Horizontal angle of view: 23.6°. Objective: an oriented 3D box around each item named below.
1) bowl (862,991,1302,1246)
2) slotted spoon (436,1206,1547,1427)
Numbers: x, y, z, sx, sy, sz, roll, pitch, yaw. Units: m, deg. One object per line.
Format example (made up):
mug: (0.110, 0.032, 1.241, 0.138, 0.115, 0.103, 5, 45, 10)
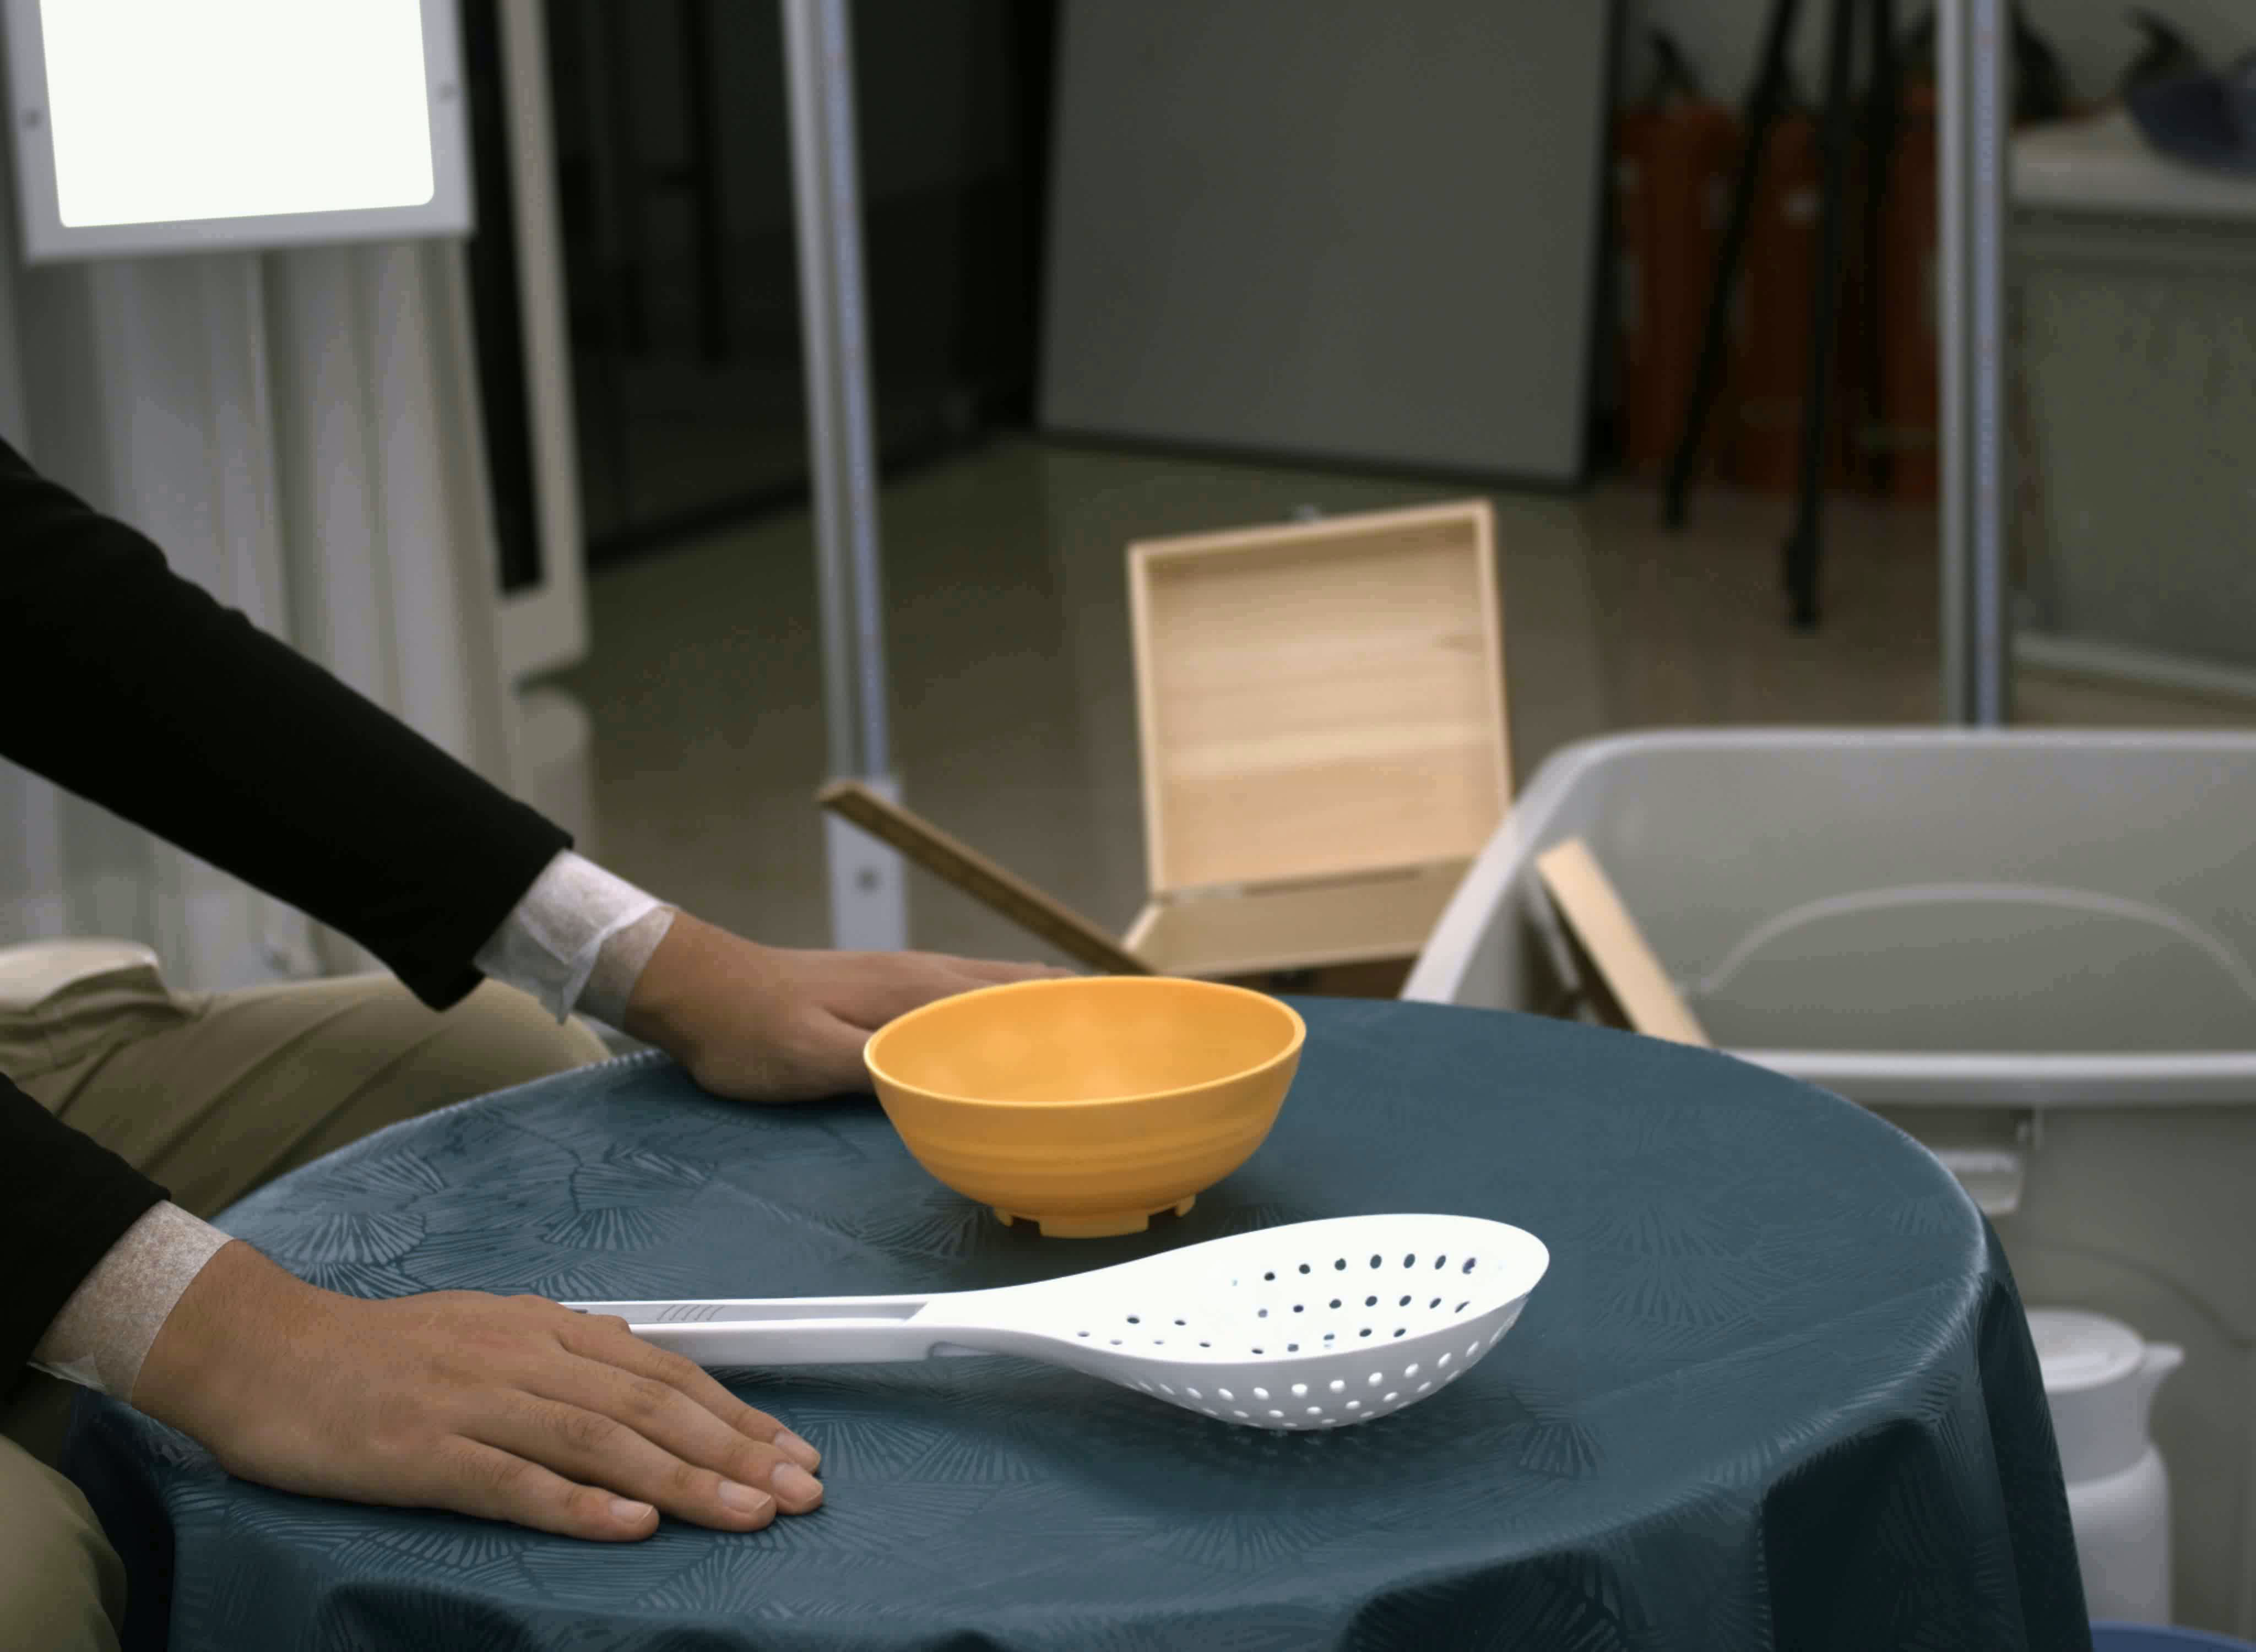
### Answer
bowl: (-0.014, 0.098, 1.749, 0.143, 0.061, 0.145, -3, 12, 0)
slotted spoon: (-0.045, 0.146, 1.585, 0.349, 0.046, 0.135, 0, 14, 20)
